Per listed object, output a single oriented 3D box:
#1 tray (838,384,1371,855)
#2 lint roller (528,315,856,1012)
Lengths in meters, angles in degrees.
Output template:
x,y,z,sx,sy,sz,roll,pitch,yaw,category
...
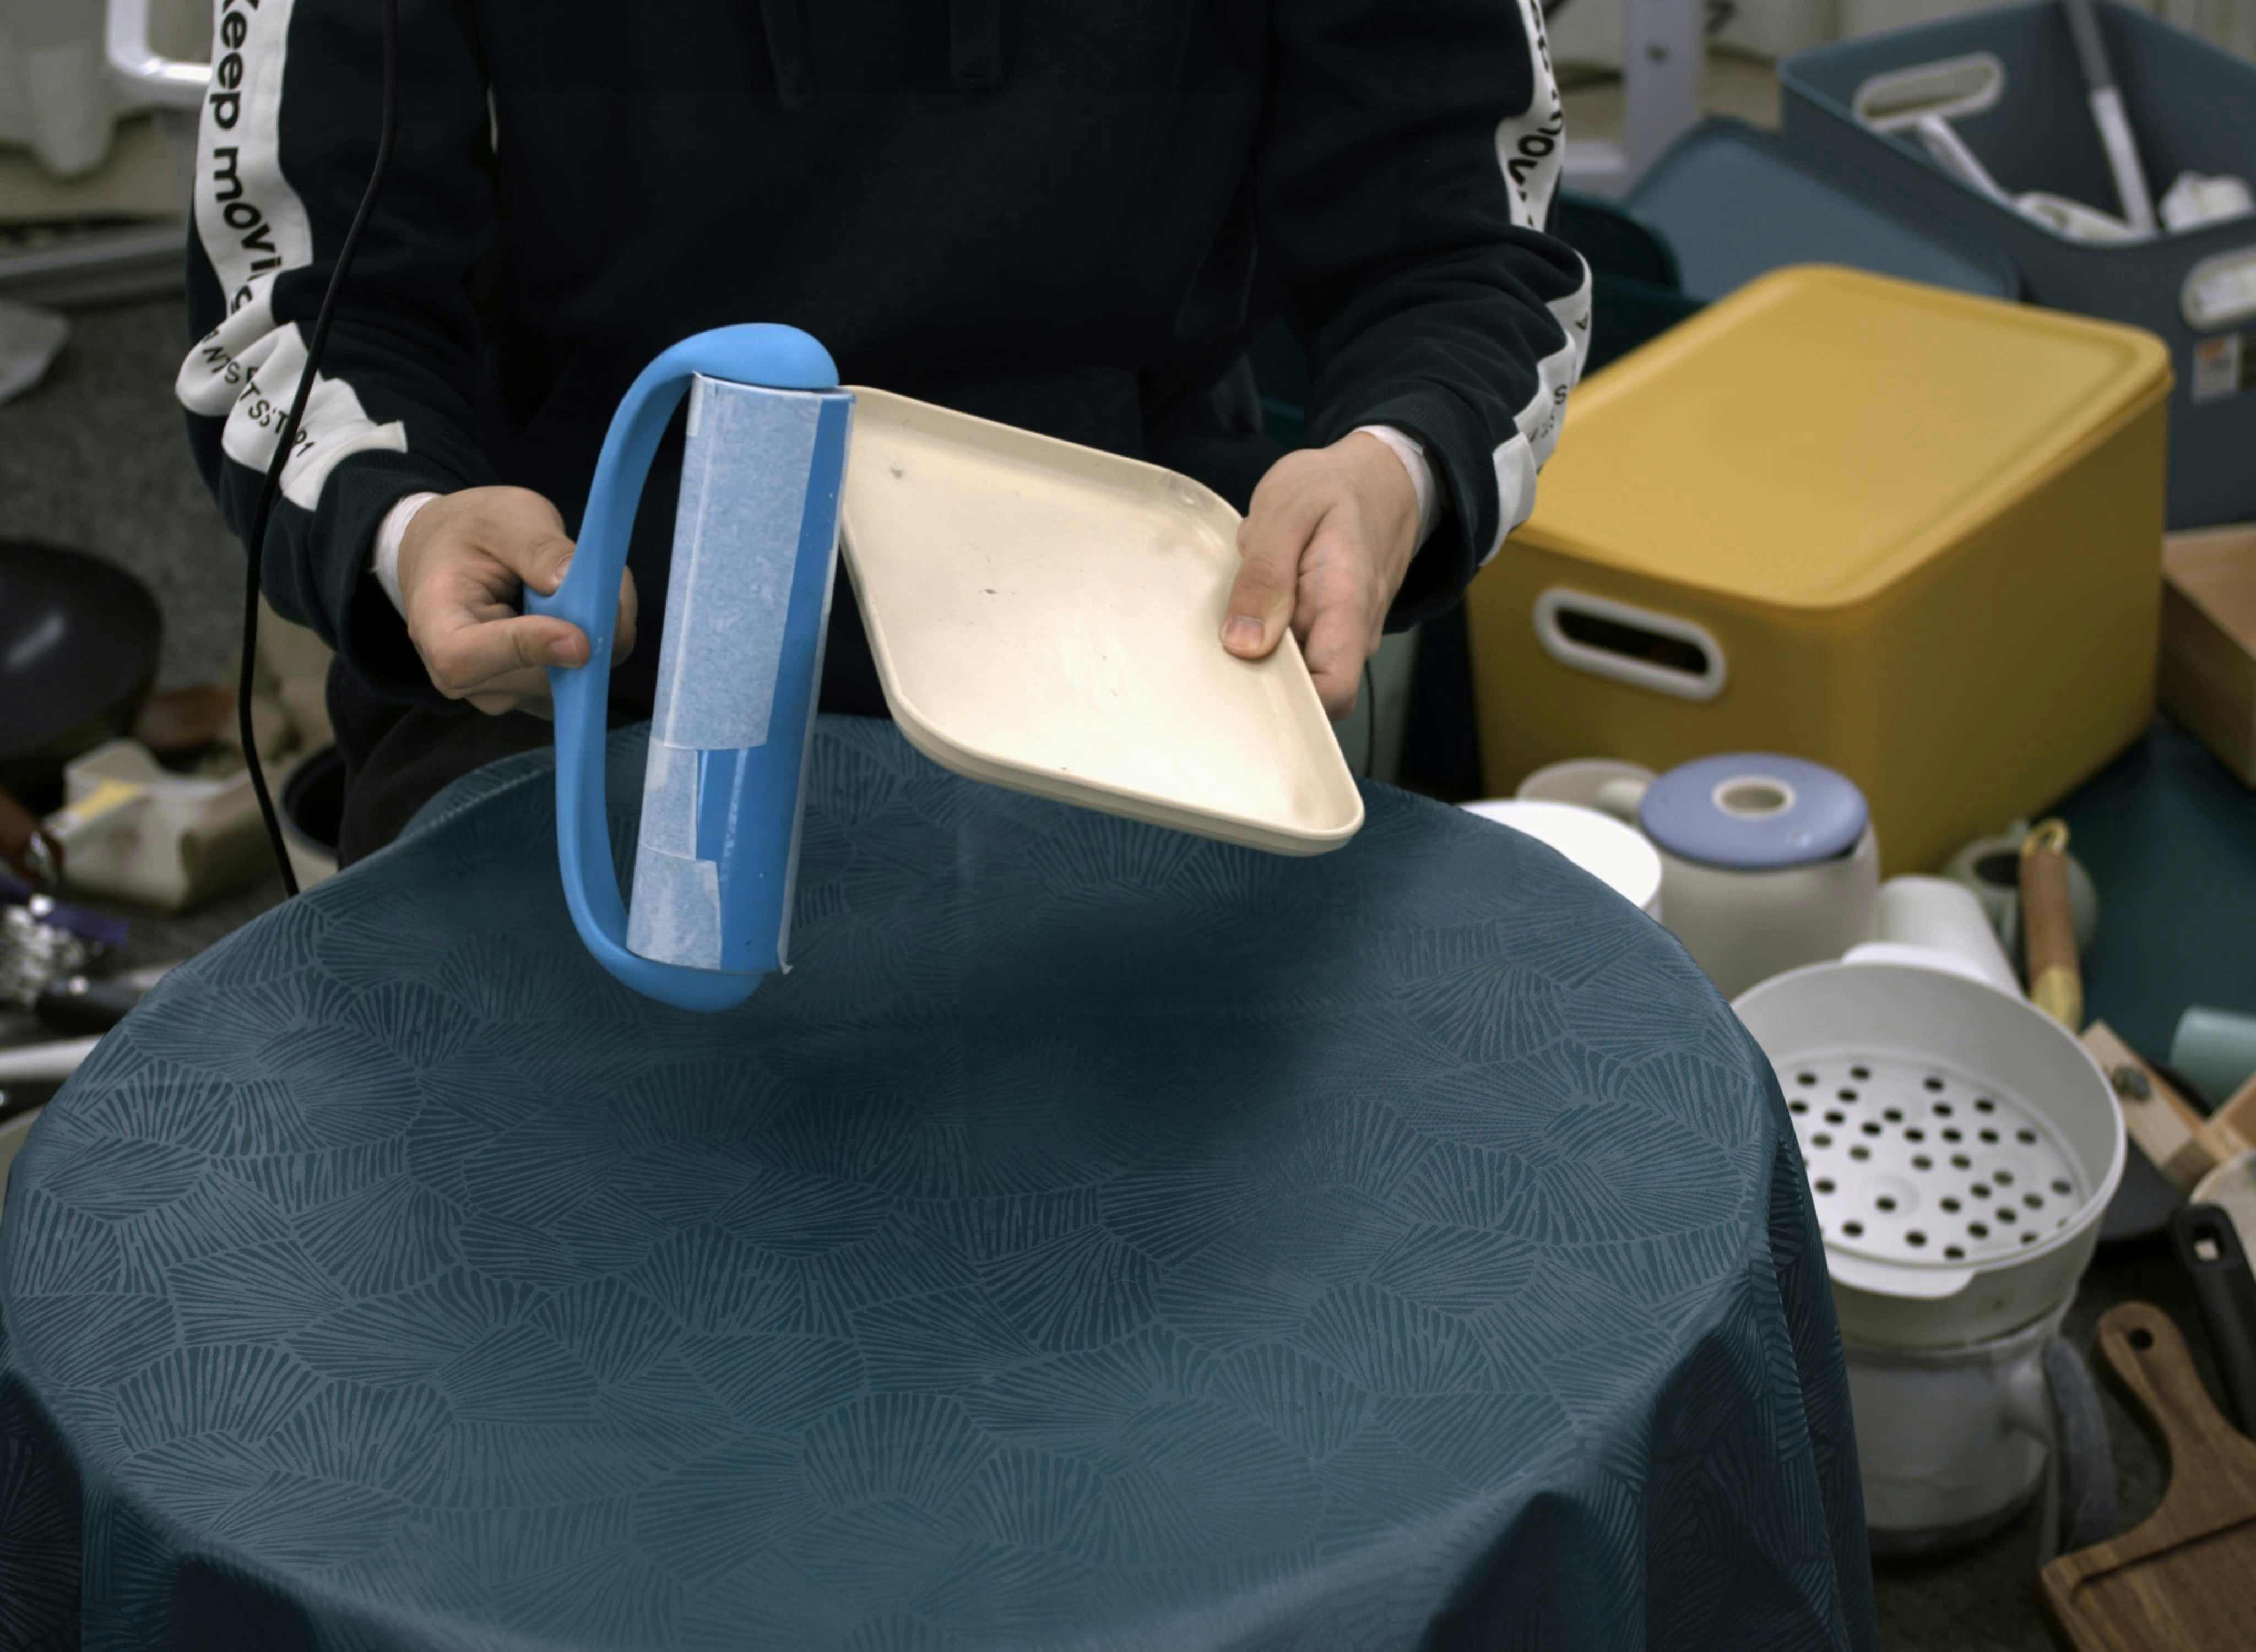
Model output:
x,y,z,sx,sy,sz,roll,pitch,yaw,category
-0.017,-0.070,1.900,0.171,0.017,0.243,14,29,-21,tray
-0.164,-0.061,1.883,0.068,0.229,0.179,-1,8,-40,lint roller
